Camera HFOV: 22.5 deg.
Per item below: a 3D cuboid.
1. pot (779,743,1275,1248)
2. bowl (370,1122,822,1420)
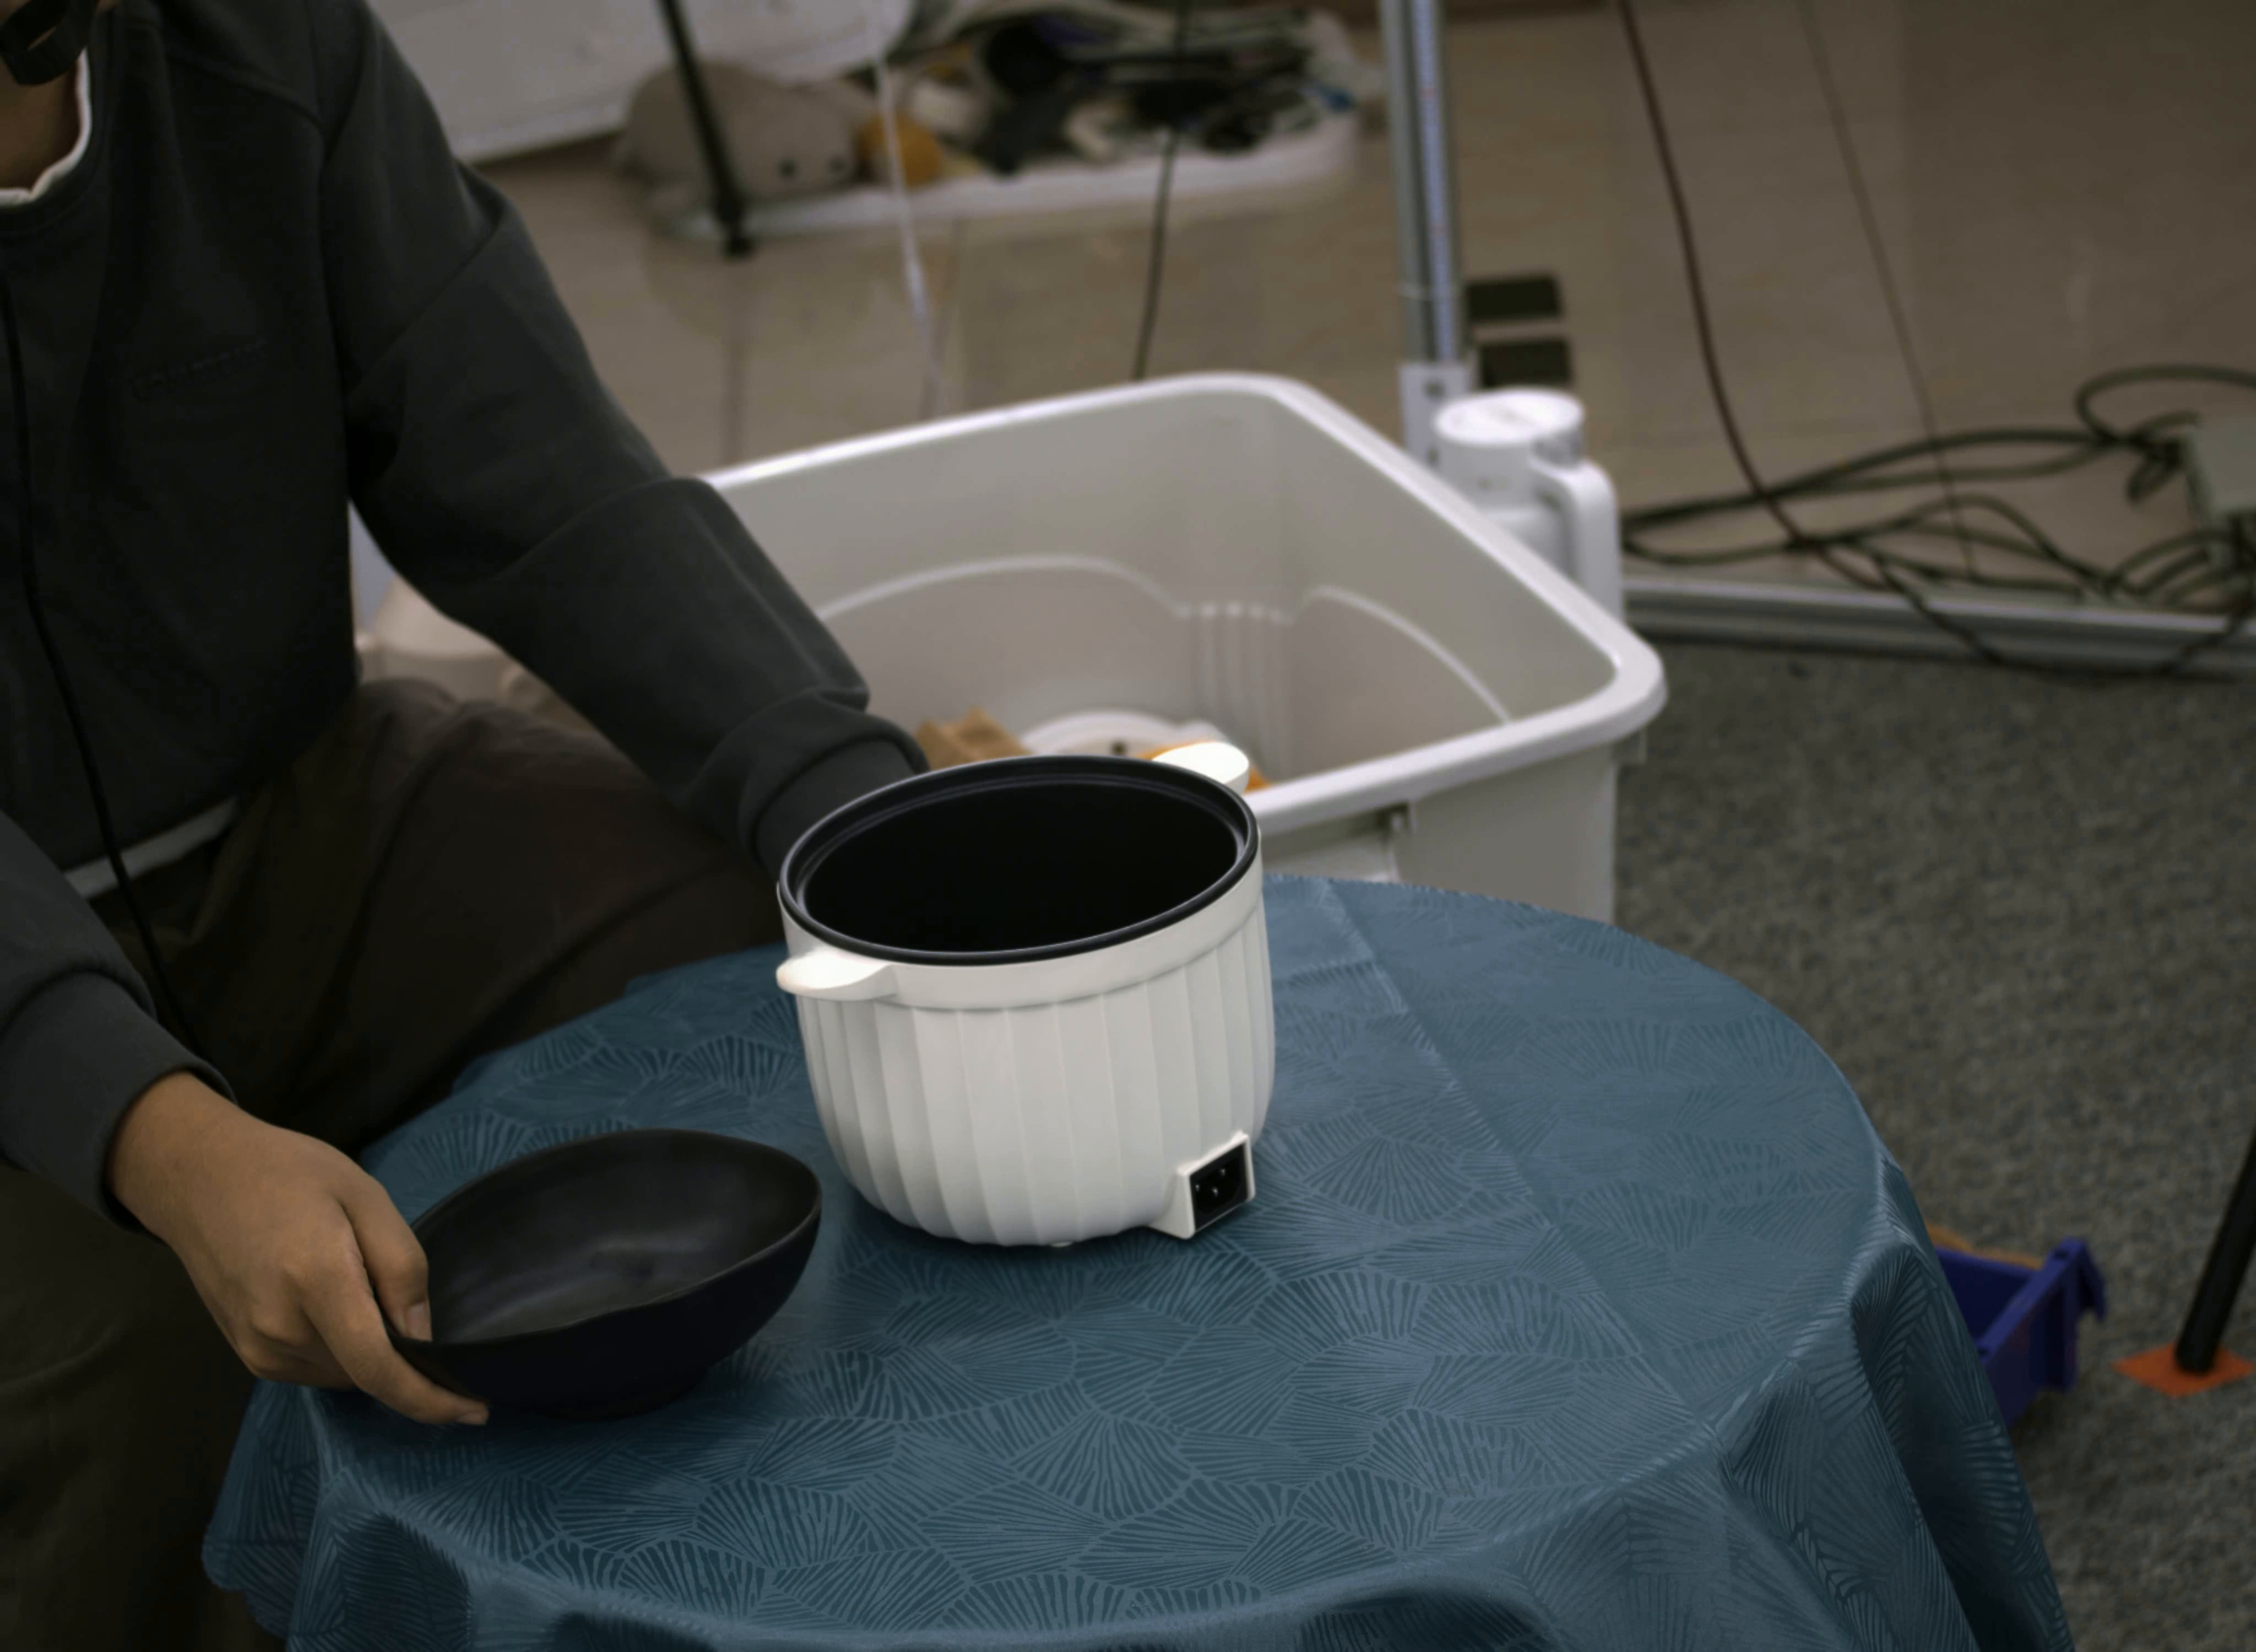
[{"bbox_3d":[-0.039,0.069,2.142,0.189,0.145,0.238,19,34,38],"label":"pot"},{"bbox_3d":[-0.187,0.170,2.048,0.169,0.068,0.136,-19,27,-22],"label":"bowl"}]
